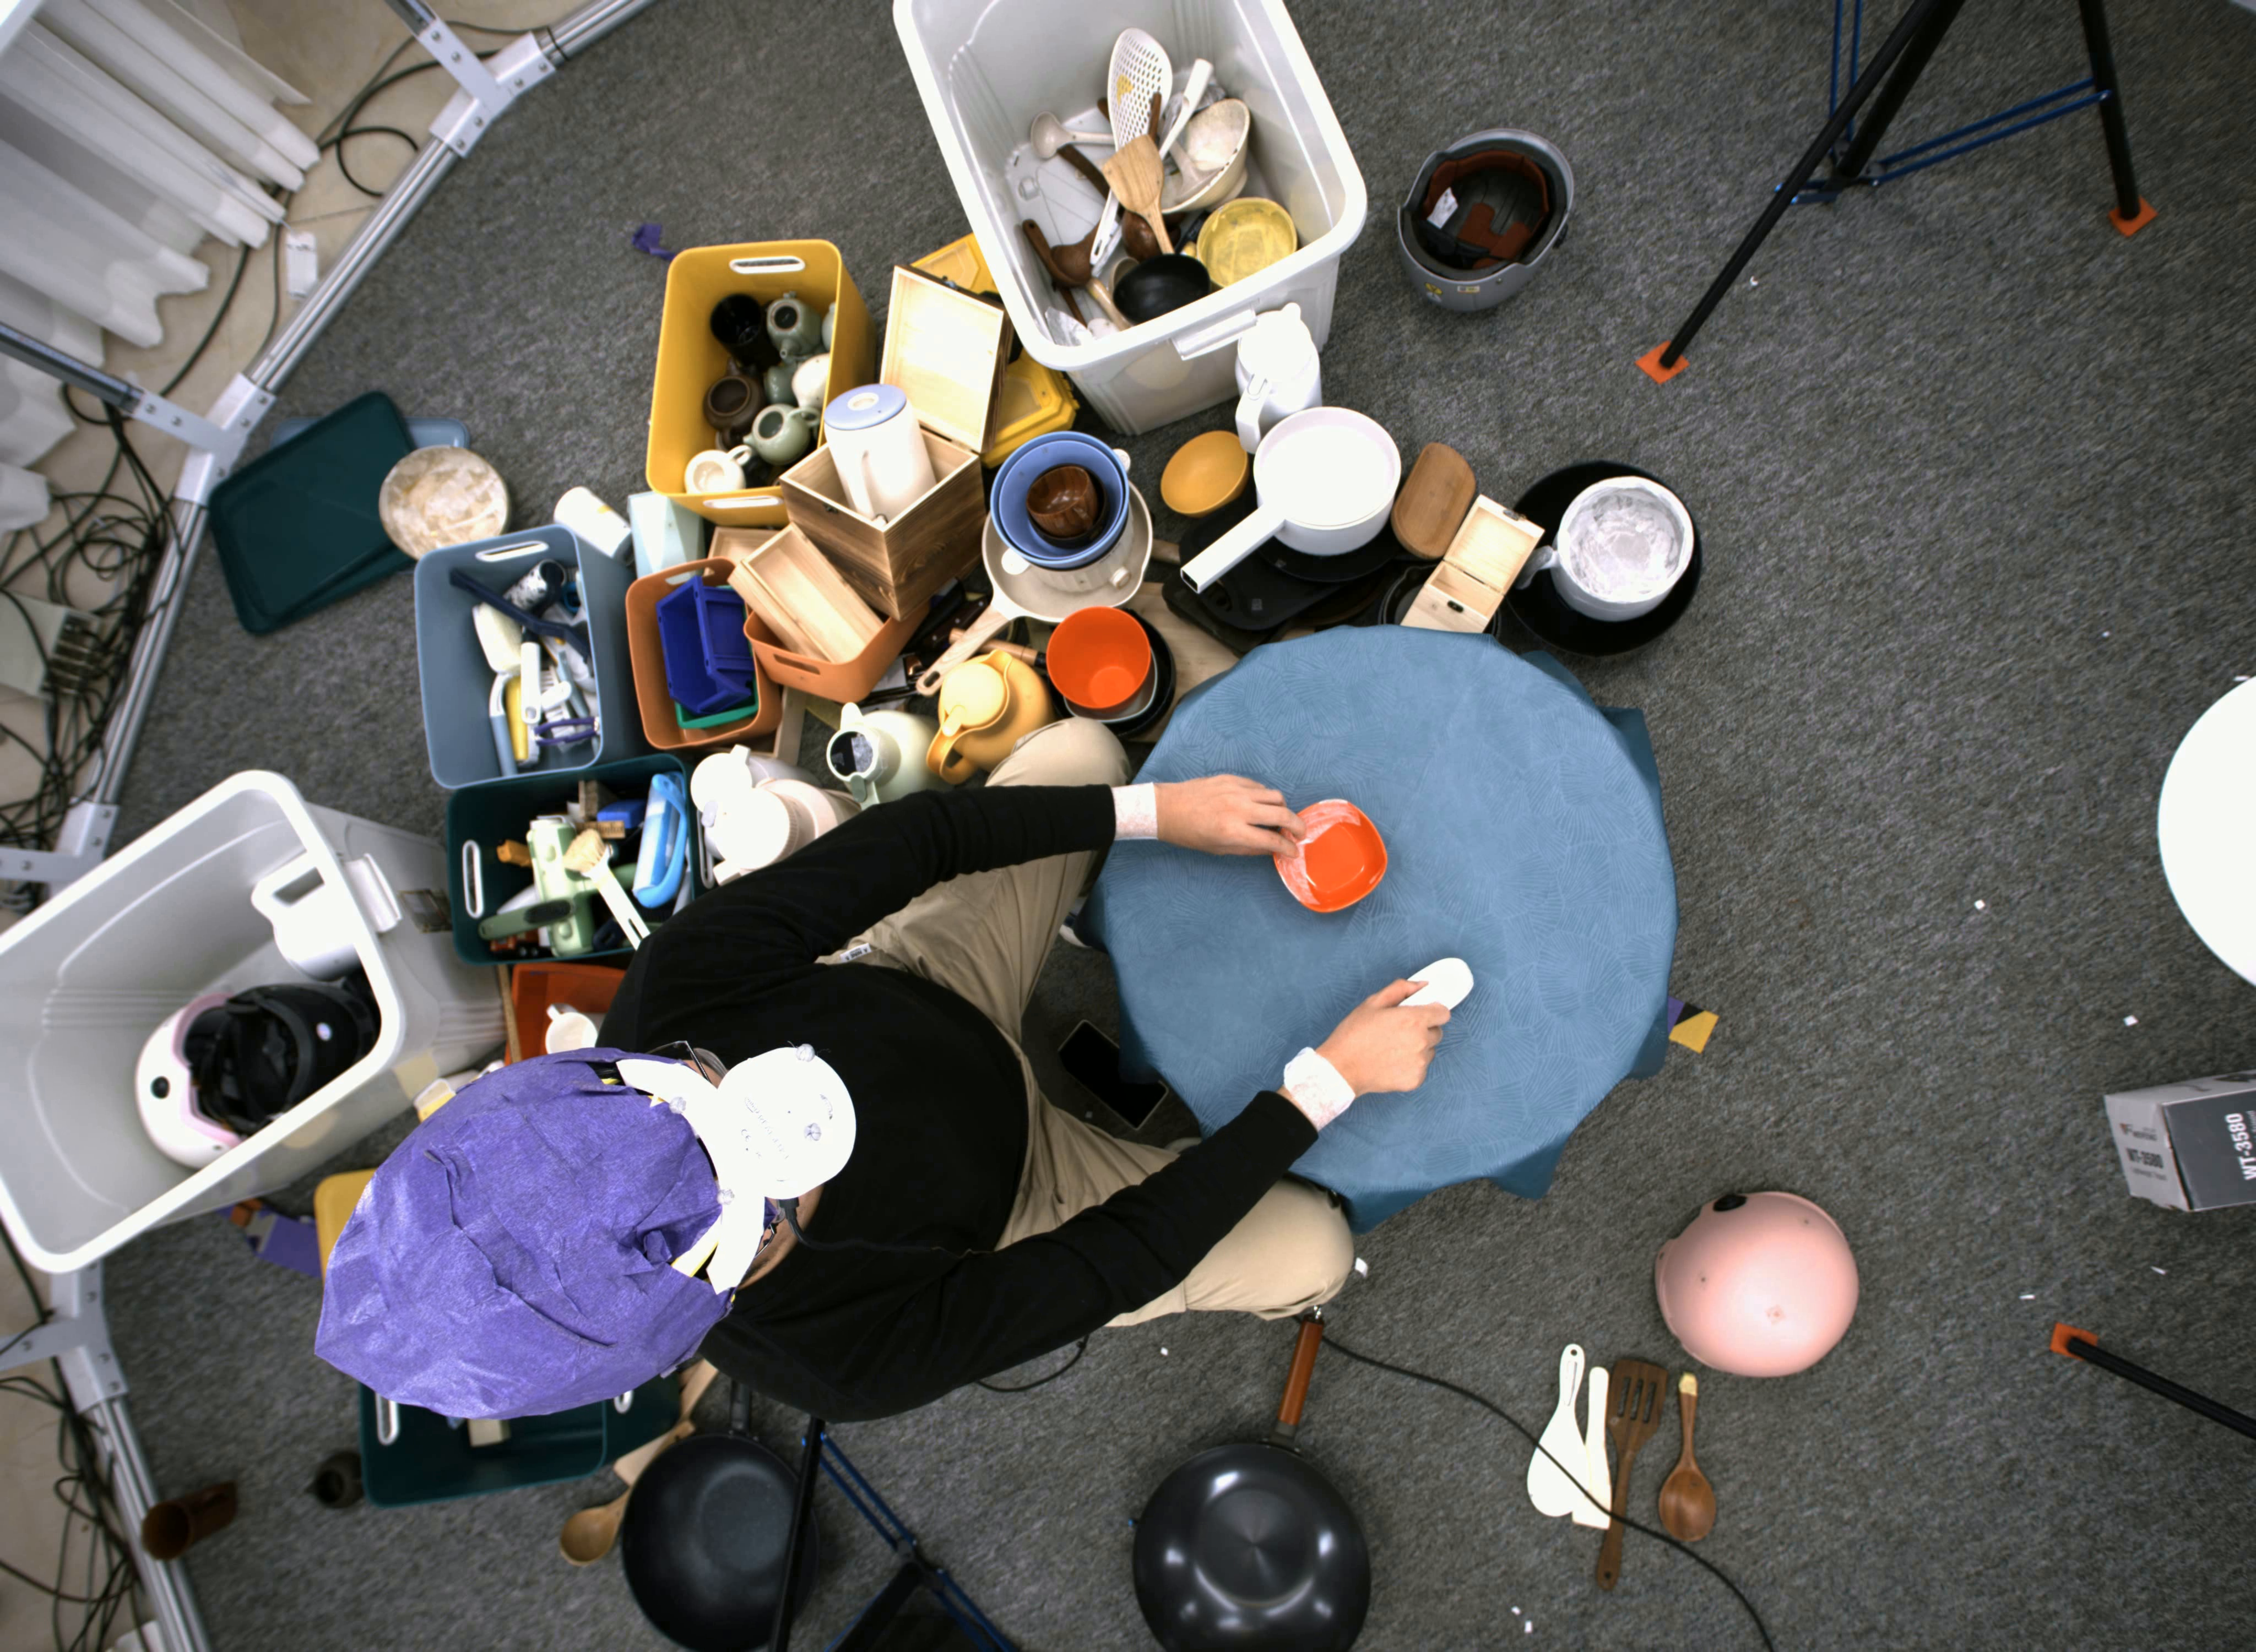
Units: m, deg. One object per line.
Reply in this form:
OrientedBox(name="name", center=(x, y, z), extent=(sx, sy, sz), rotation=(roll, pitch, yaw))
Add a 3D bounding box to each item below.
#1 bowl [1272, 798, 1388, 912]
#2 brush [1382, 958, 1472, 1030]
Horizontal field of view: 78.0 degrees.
OrientedBox(name="bowl", center=(0.211, 0.031, 1.446), extent=(0.119, 0.051, 0.118), rotation=(-1, 86, 7))
OrientedBox(name="brush", center=(0.306, 0.171, 1.410), extent=(0.100, 0.072, 0.050), rotation=(-32, 81, 6))
